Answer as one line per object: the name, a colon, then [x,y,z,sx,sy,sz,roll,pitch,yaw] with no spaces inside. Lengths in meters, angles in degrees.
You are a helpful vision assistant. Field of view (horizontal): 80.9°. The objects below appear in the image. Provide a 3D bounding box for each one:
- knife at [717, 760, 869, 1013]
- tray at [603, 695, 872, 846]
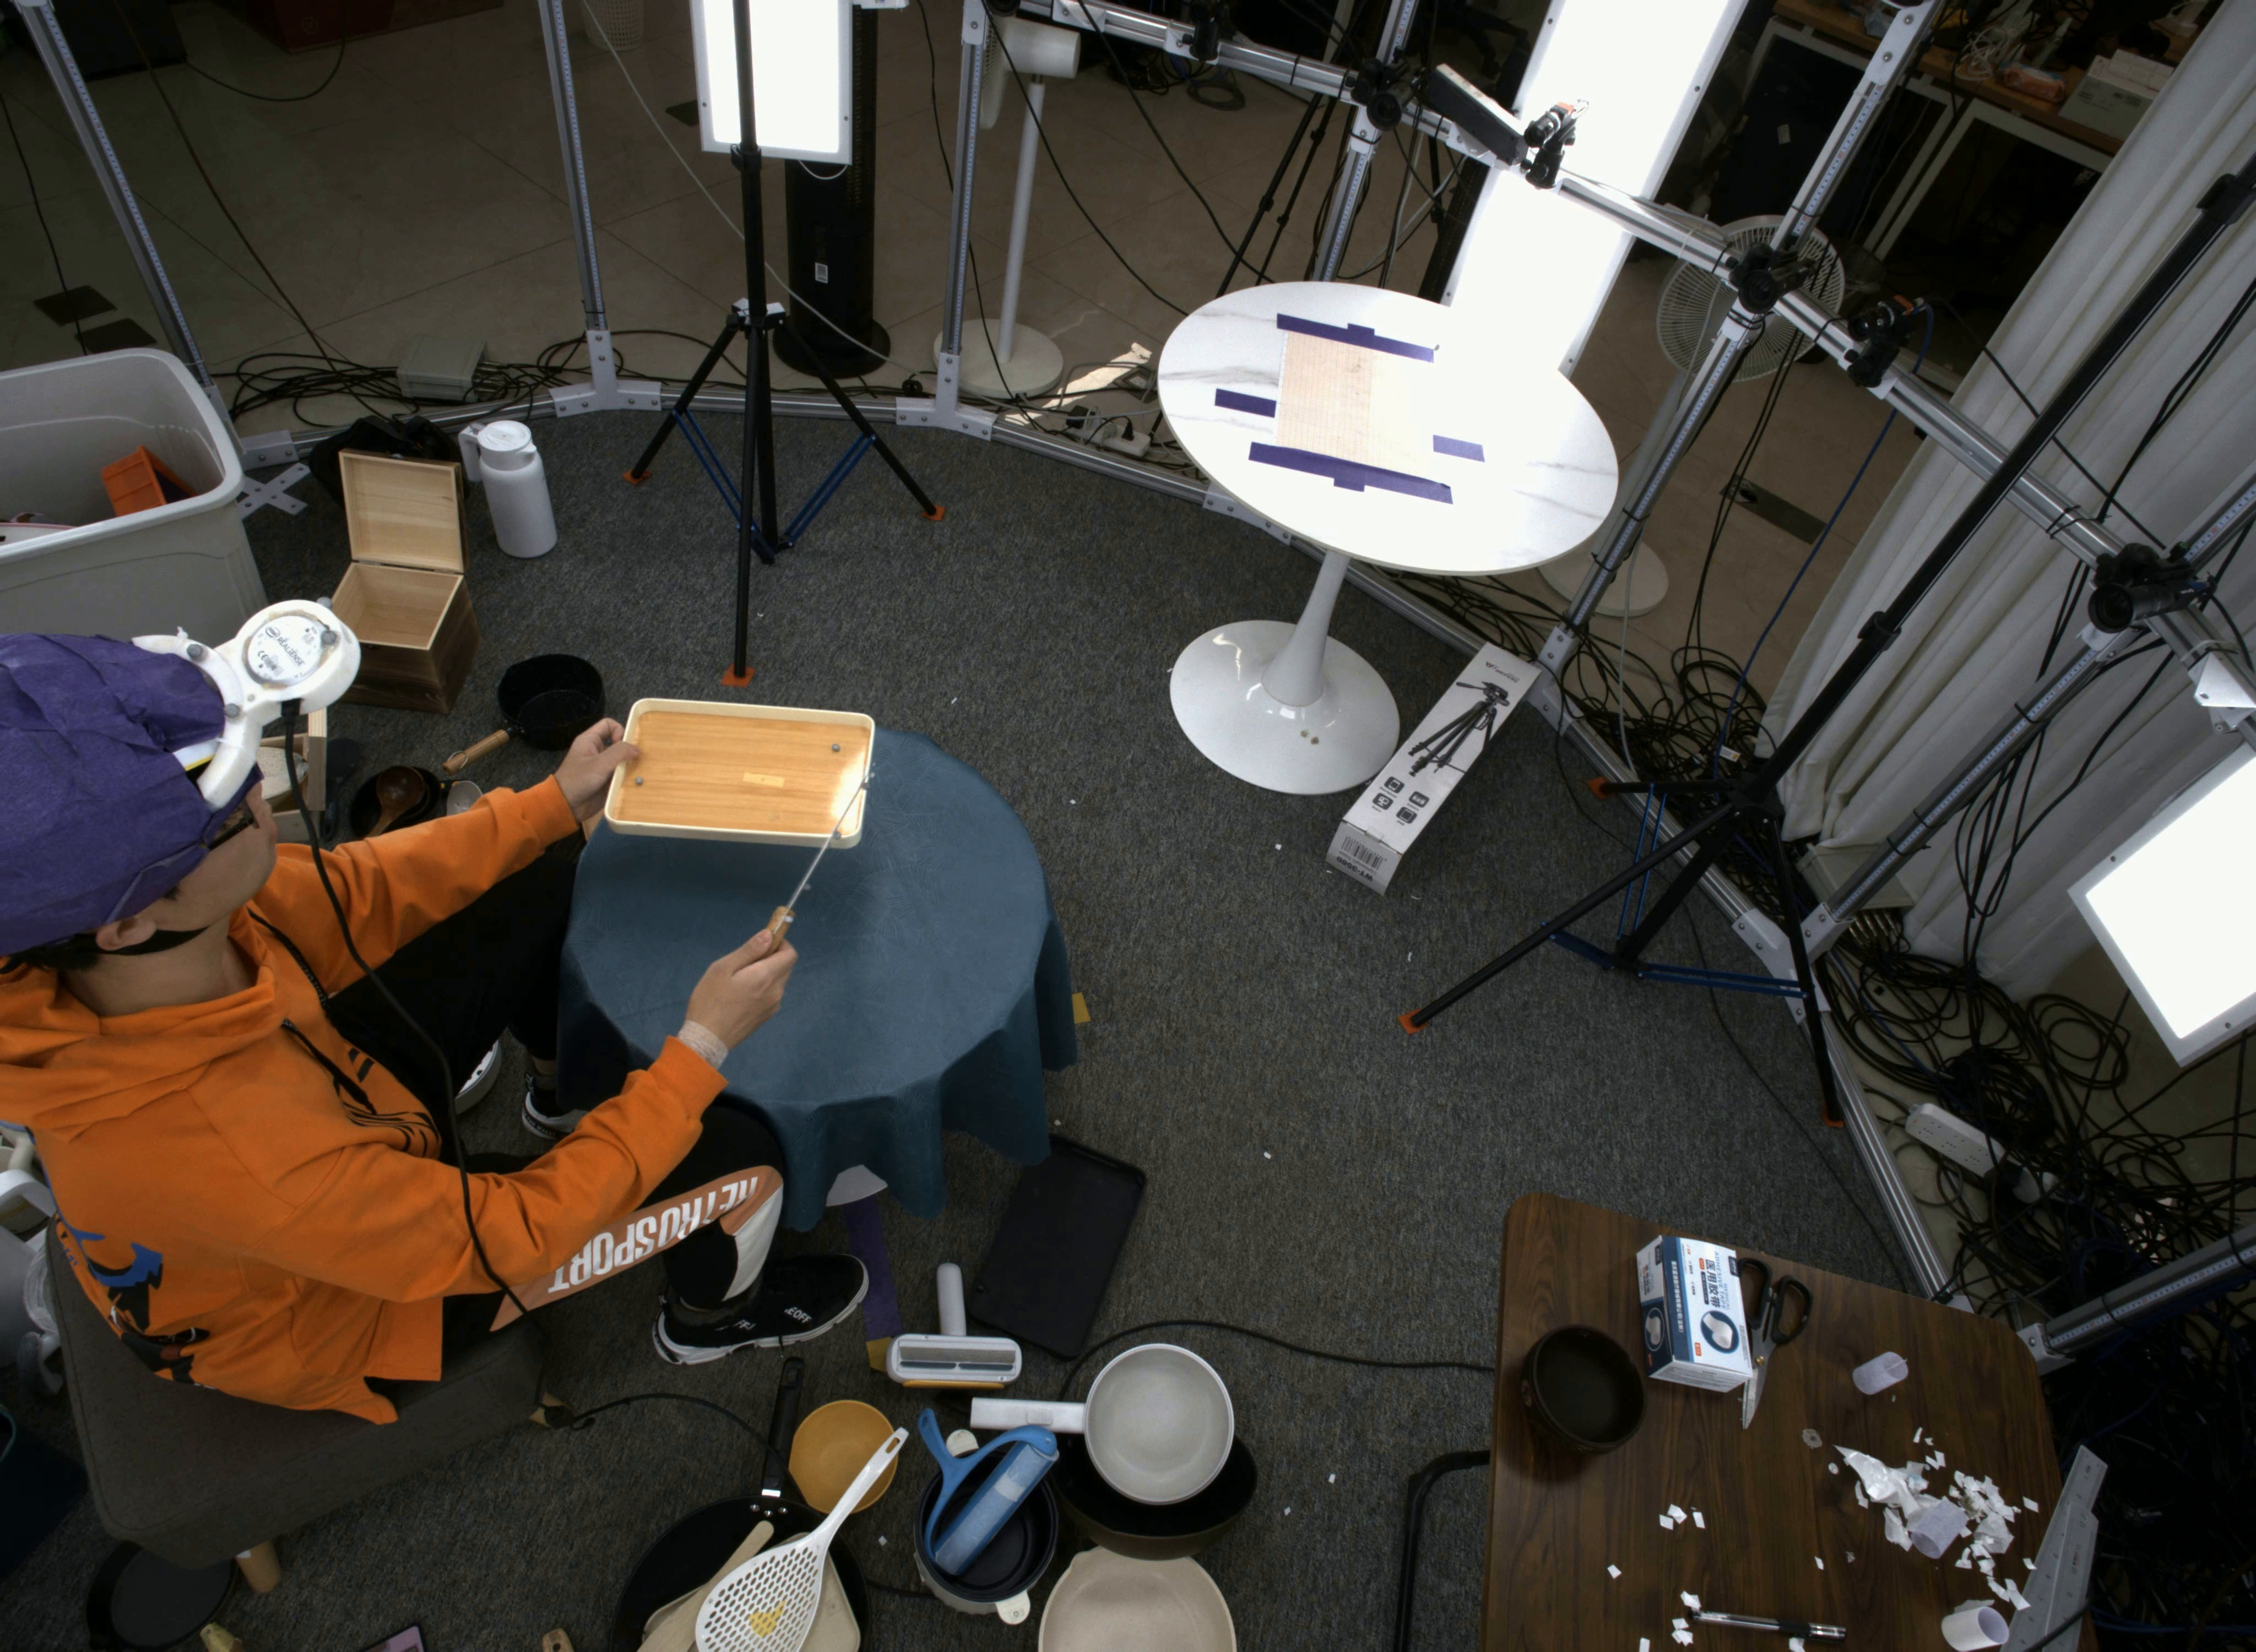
knife: [-0.361,0.059,1.403,0.021,0.091,0.306,31,79,-15]
tray: [-0.464,-0.068,1.545,0.299,0.028,0.188,4,56,-8]
